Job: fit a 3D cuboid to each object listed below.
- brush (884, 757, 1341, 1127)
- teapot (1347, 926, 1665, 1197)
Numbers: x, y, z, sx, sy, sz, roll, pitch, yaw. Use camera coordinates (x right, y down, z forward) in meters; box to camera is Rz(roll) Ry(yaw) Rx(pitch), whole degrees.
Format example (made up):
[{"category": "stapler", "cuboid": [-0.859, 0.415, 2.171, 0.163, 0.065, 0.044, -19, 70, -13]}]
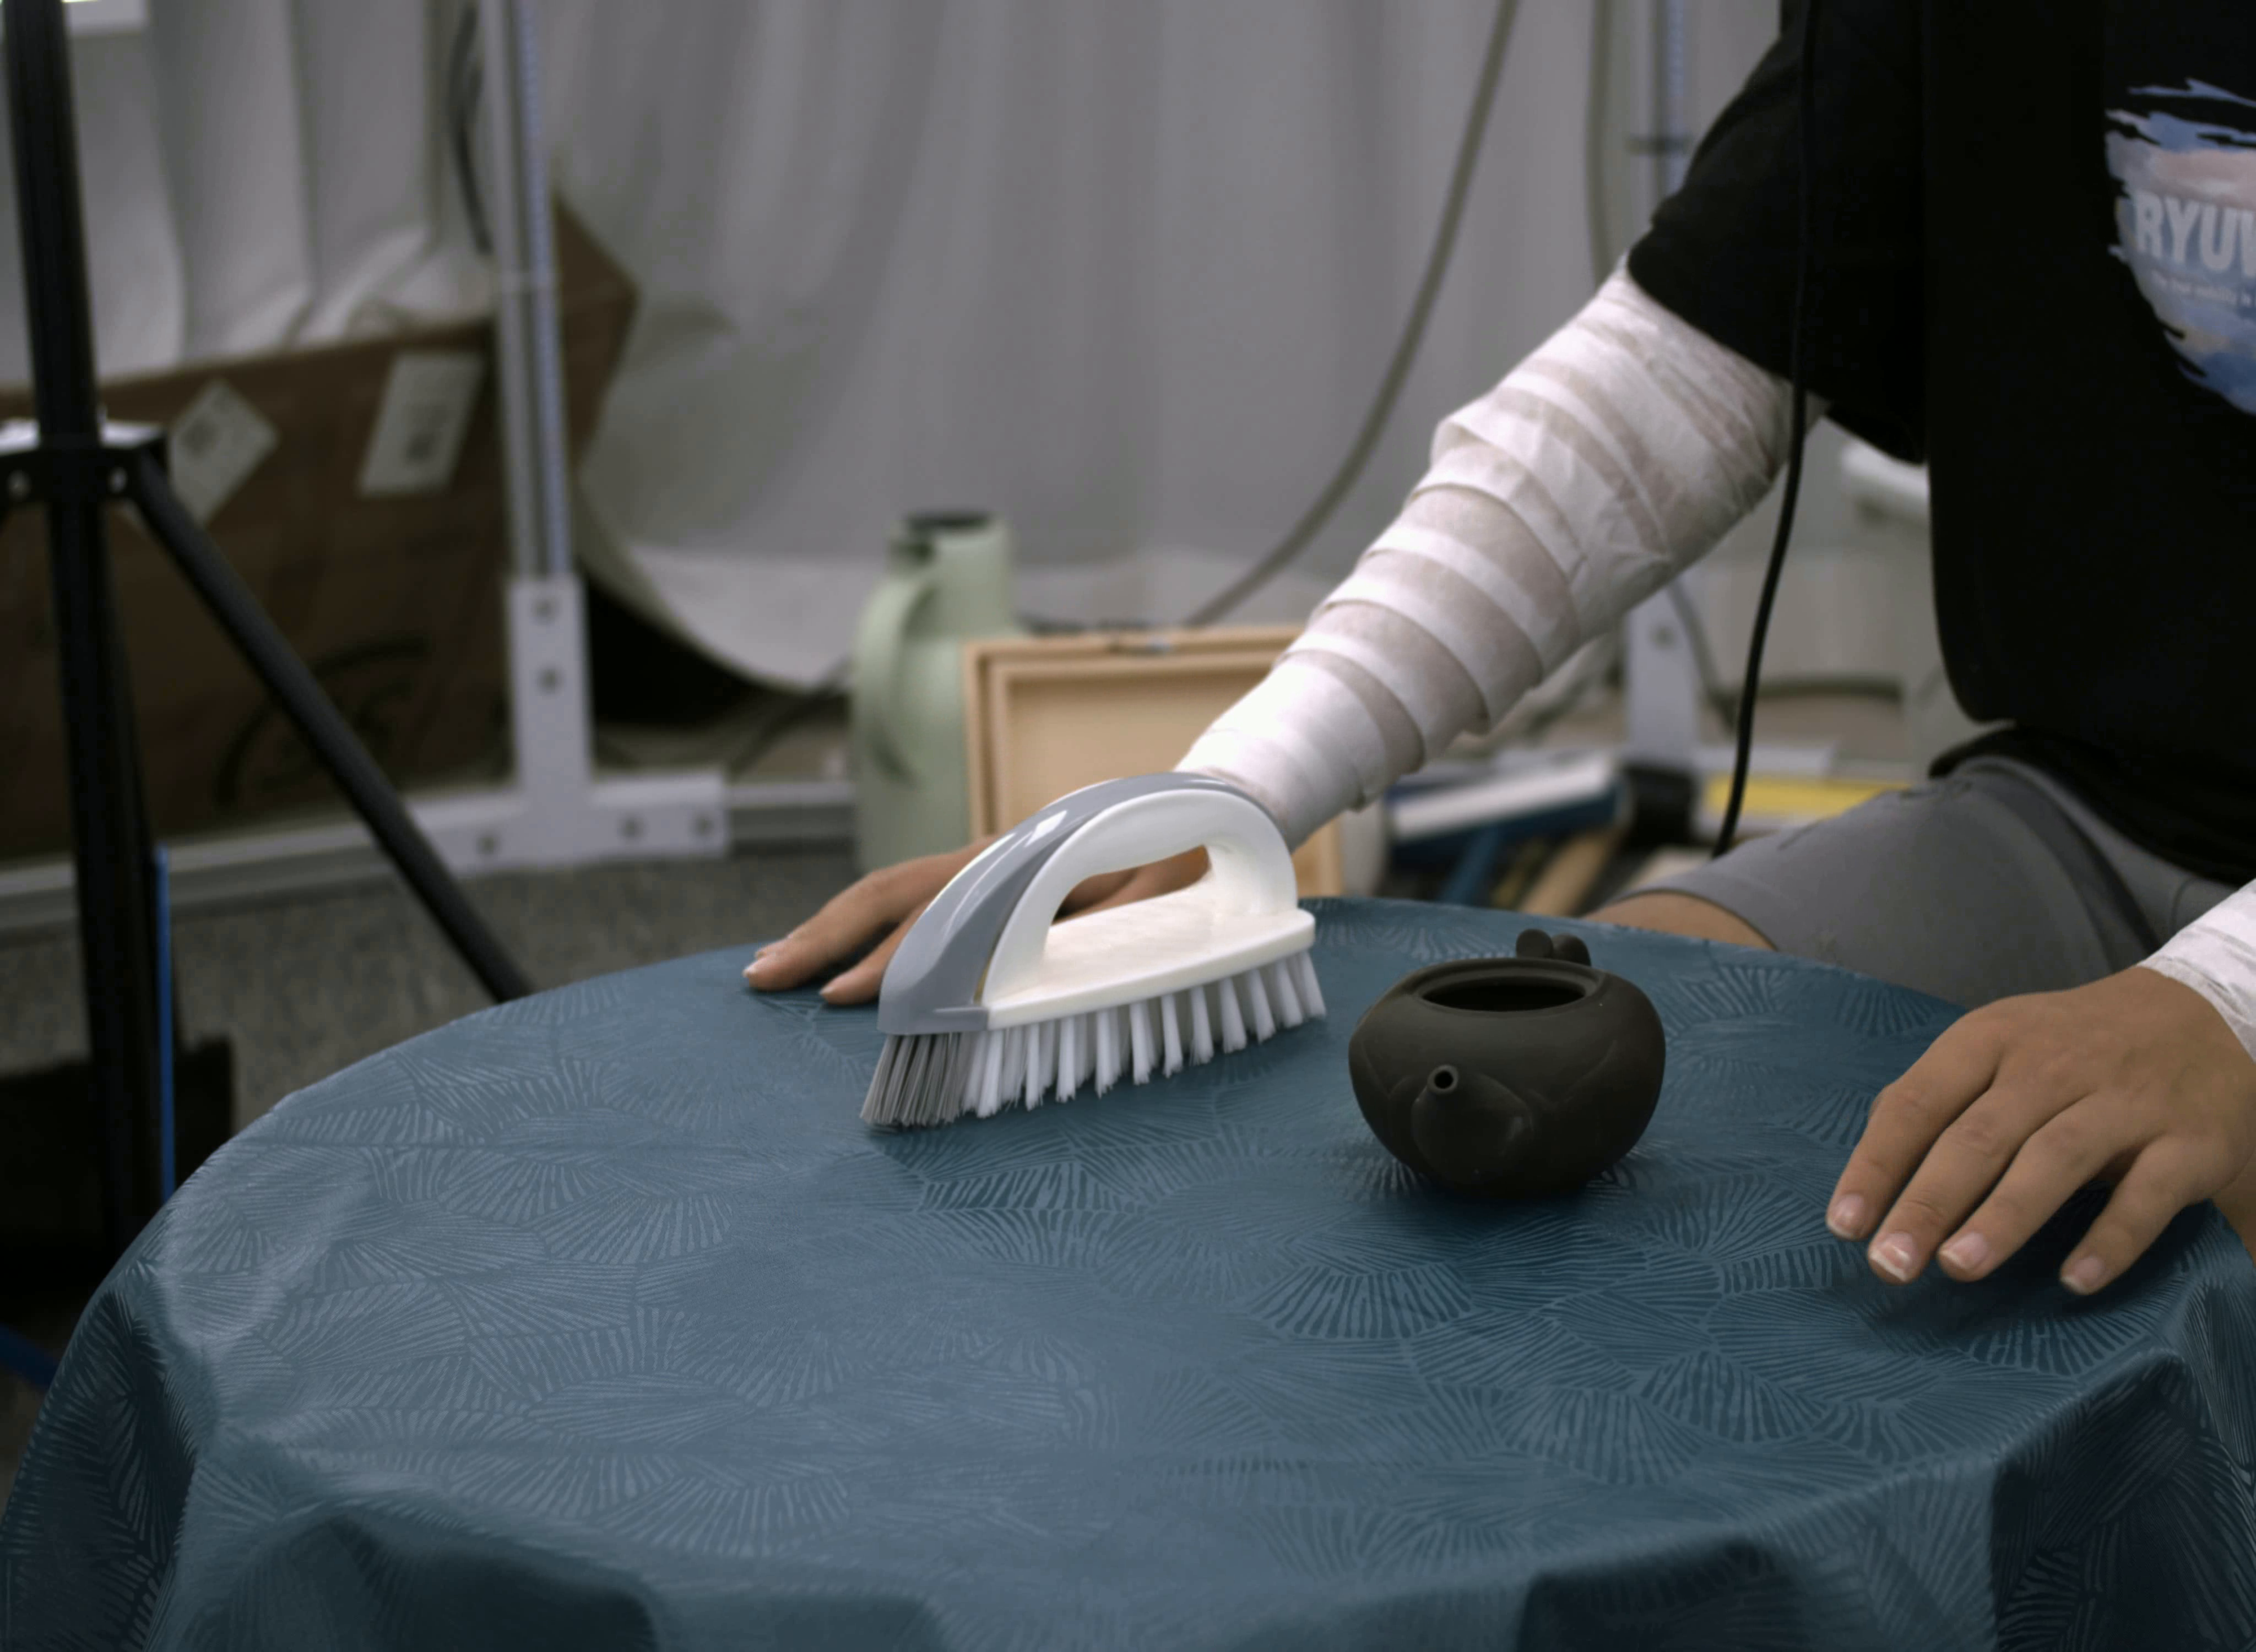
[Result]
[{"category": "brush", "cuboid": [-0.012, 0.033, 1.661, 0.171, 0.094, 0.063, -17, 16, -38]}, {"category": "teapot", "cuboid": [0.112, 0.070, 1.557, 0.093, 0.064, 0.152, 4, 18, 20]}]
